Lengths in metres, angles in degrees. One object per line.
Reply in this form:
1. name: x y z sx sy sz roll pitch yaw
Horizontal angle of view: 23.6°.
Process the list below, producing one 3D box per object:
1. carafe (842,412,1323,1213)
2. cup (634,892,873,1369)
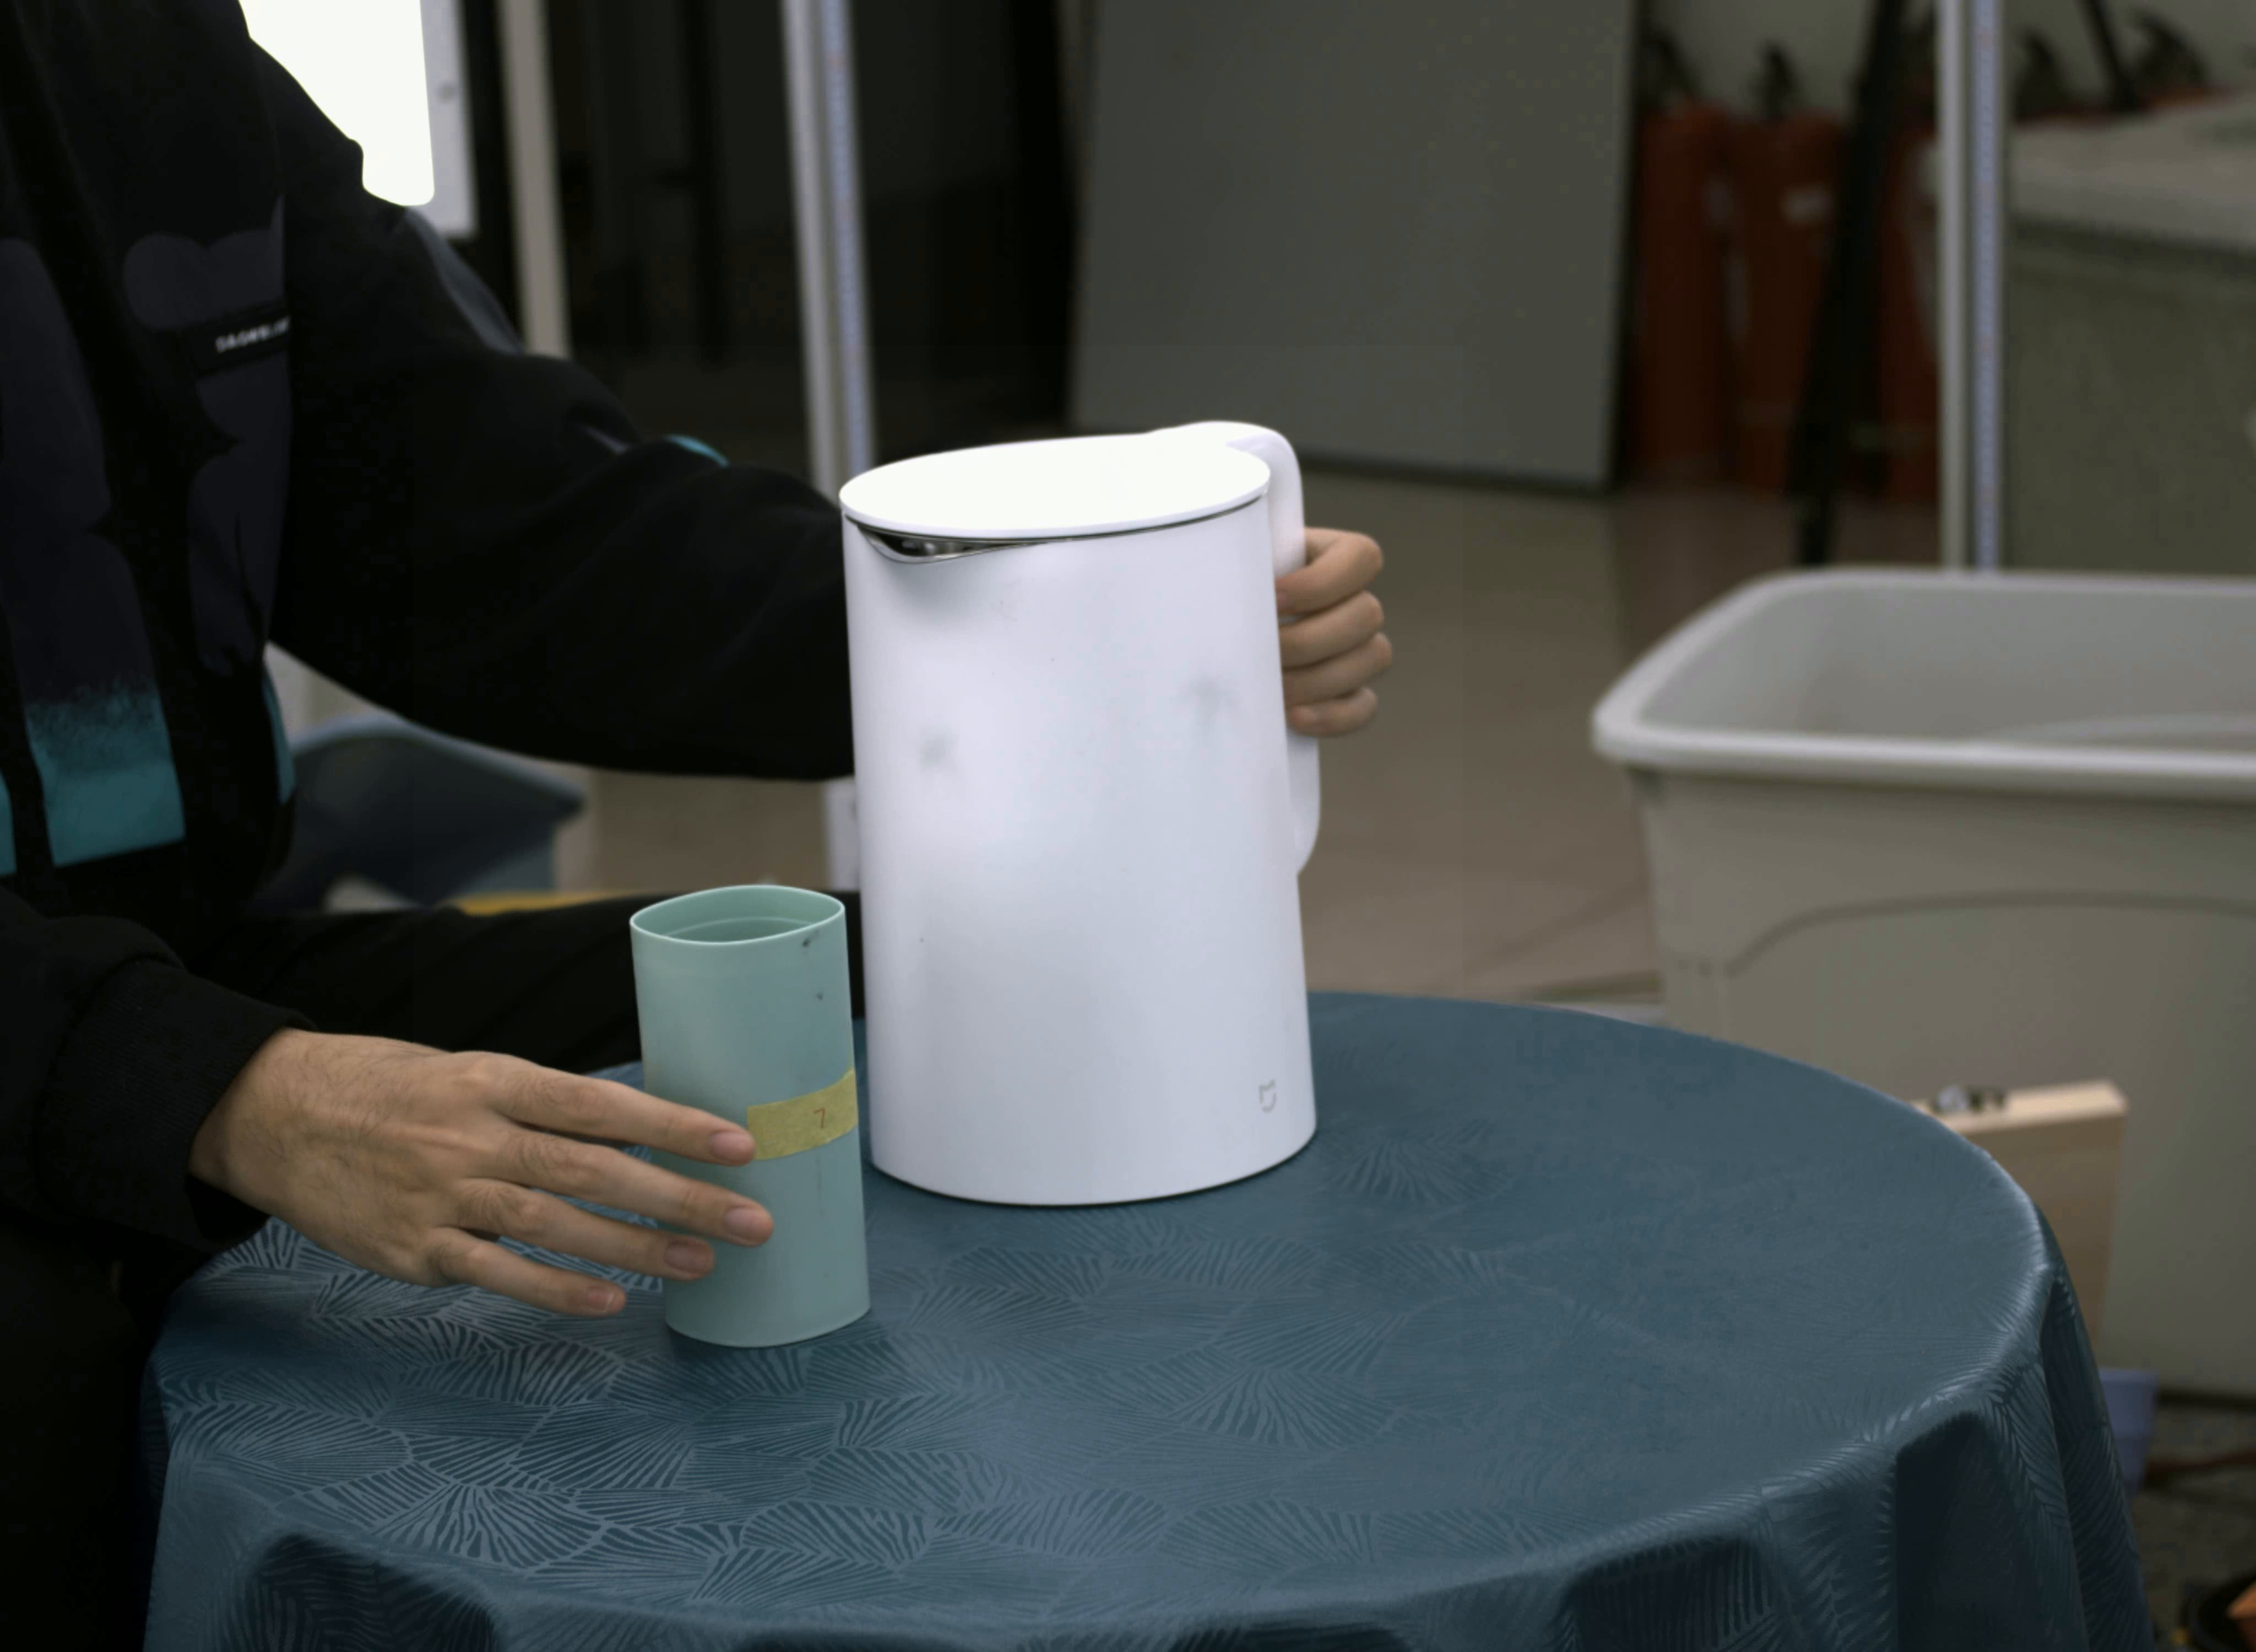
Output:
1. carafe: -0.002 -0.011 1.819 0.153 0.243 0.209 8 18 35
2. cup: -0.115 0.092 1.662 0.066 0.134 0.067 -3 15 0
